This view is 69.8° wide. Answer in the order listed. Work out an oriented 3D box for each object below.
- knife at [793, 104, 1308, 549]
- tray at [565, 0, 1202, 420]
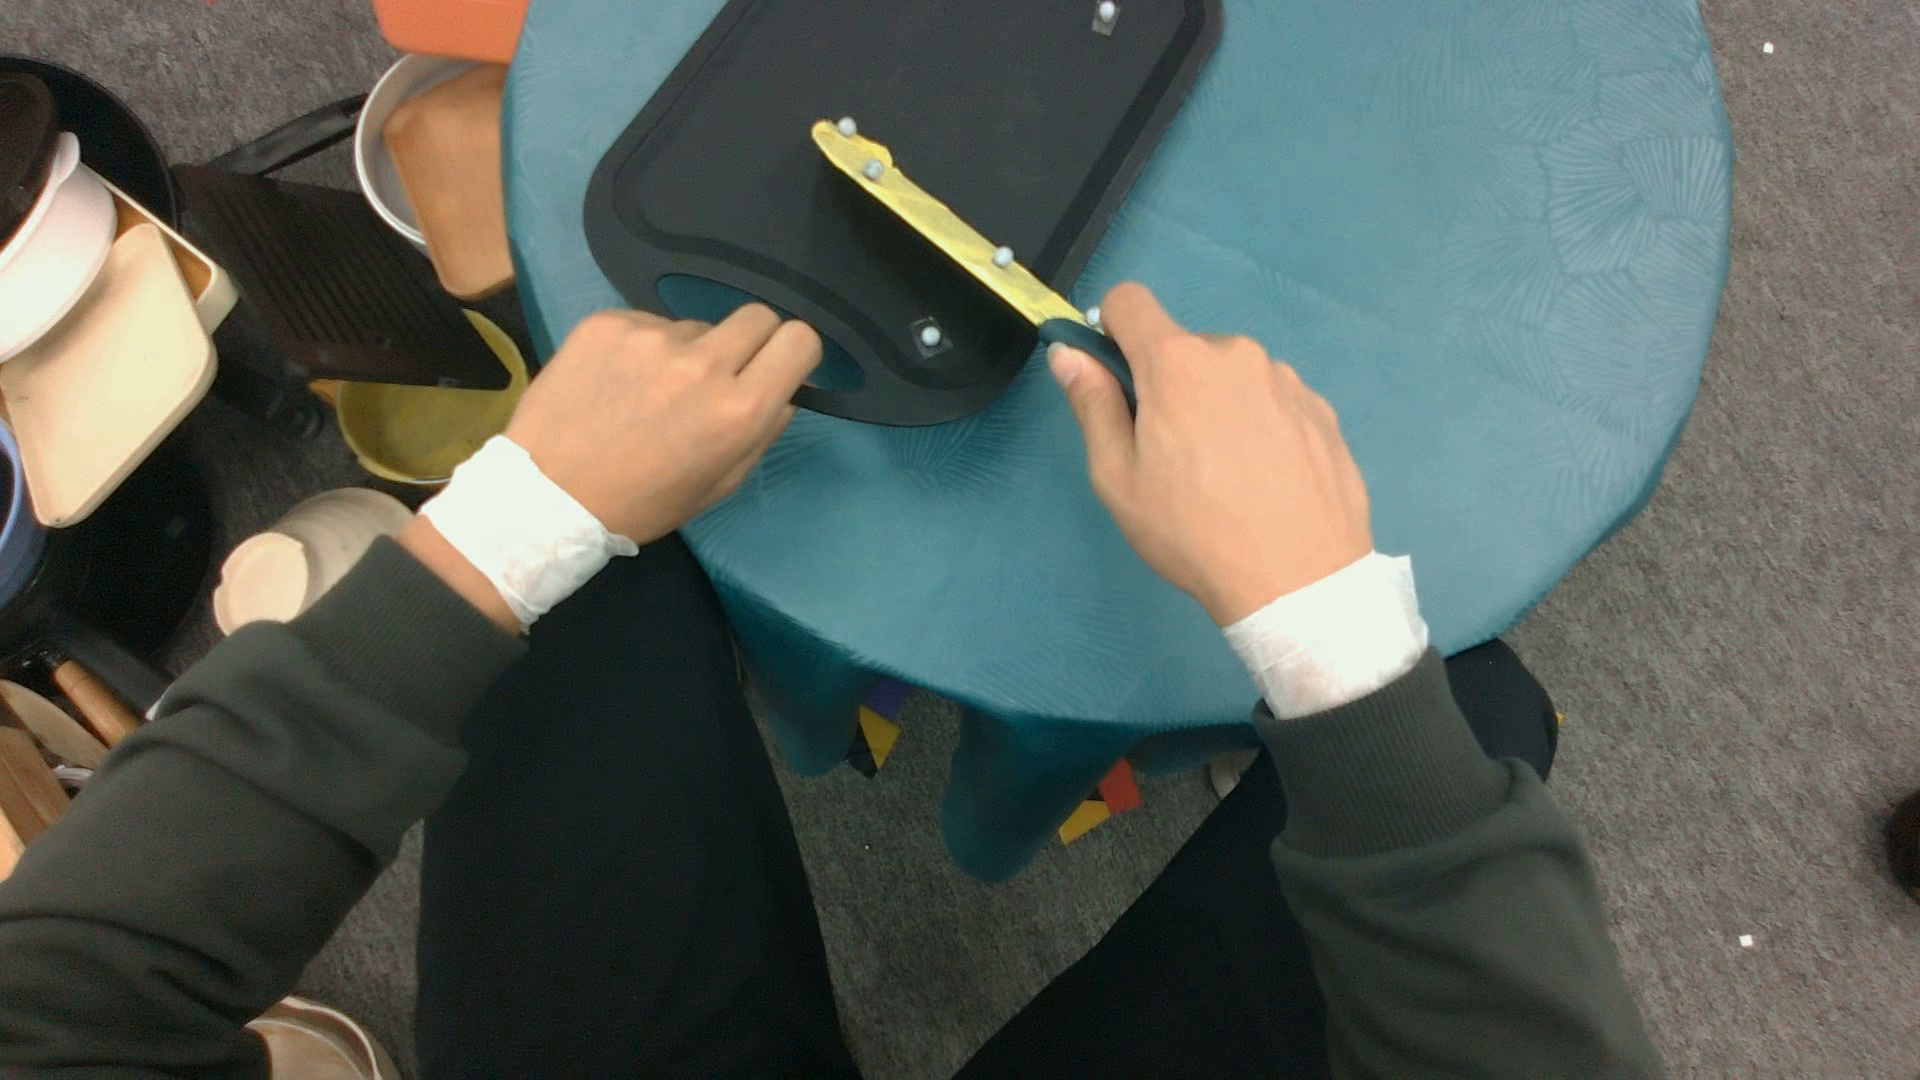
[{"bbox_3d":[0.031,-0.097,0.568,0.289,0.081,0.027,43,113,17],"label":"knife"},{"bbox_3d":[-0.029,-0.203,0.638,0.211,0.010,0.326,28,67,4],"label":"tray"}]
